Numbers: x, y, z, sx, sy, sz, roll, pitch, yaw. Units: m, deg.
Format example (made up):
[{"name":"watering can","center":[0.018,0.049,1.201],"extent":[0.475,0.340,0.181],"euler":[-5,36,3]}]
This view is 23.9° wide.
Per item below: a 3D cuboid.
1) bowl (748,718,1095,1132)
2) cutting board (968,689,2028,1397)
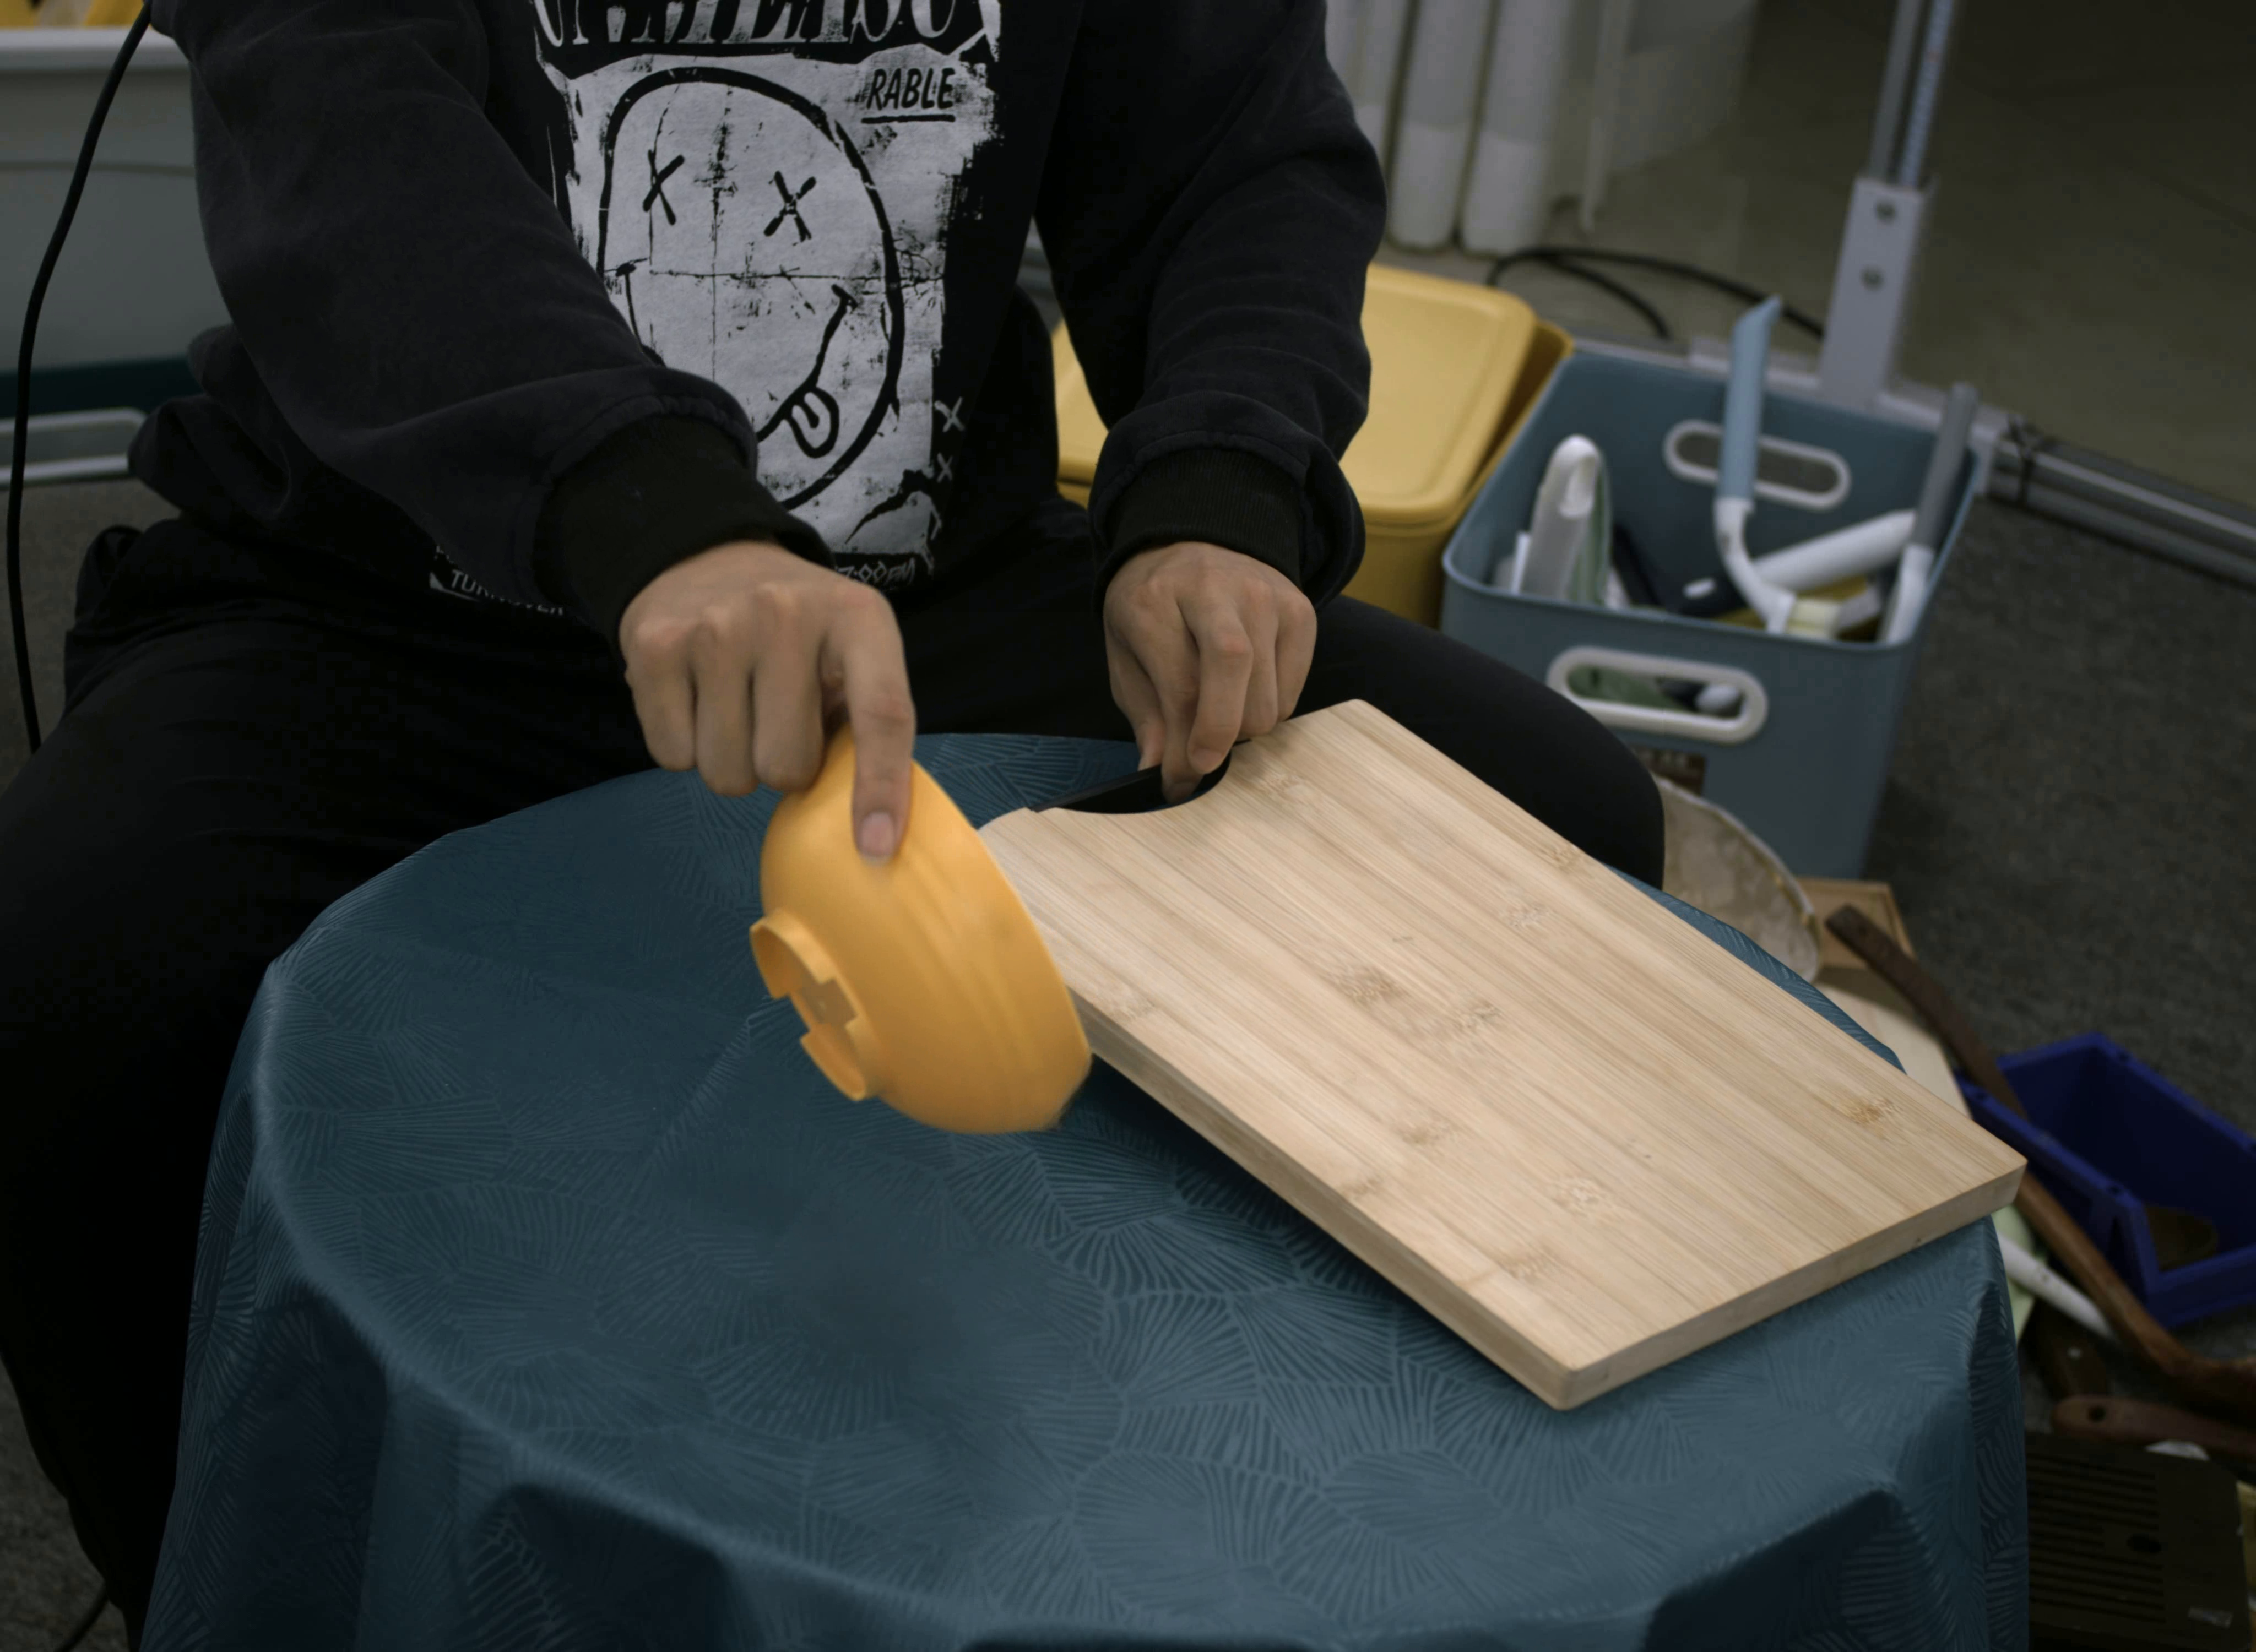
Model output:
[{"name":"bowl","center":[-0.076,0.043,1.660],"extent":[0.060,0.144,0.146],"euler":[-33,42,-19]},{"name":"cutting board","center":[0.112,0.068,1.878],"extent":[0.249,0.023,0.351],"euler":[-19,42,-41]}]
